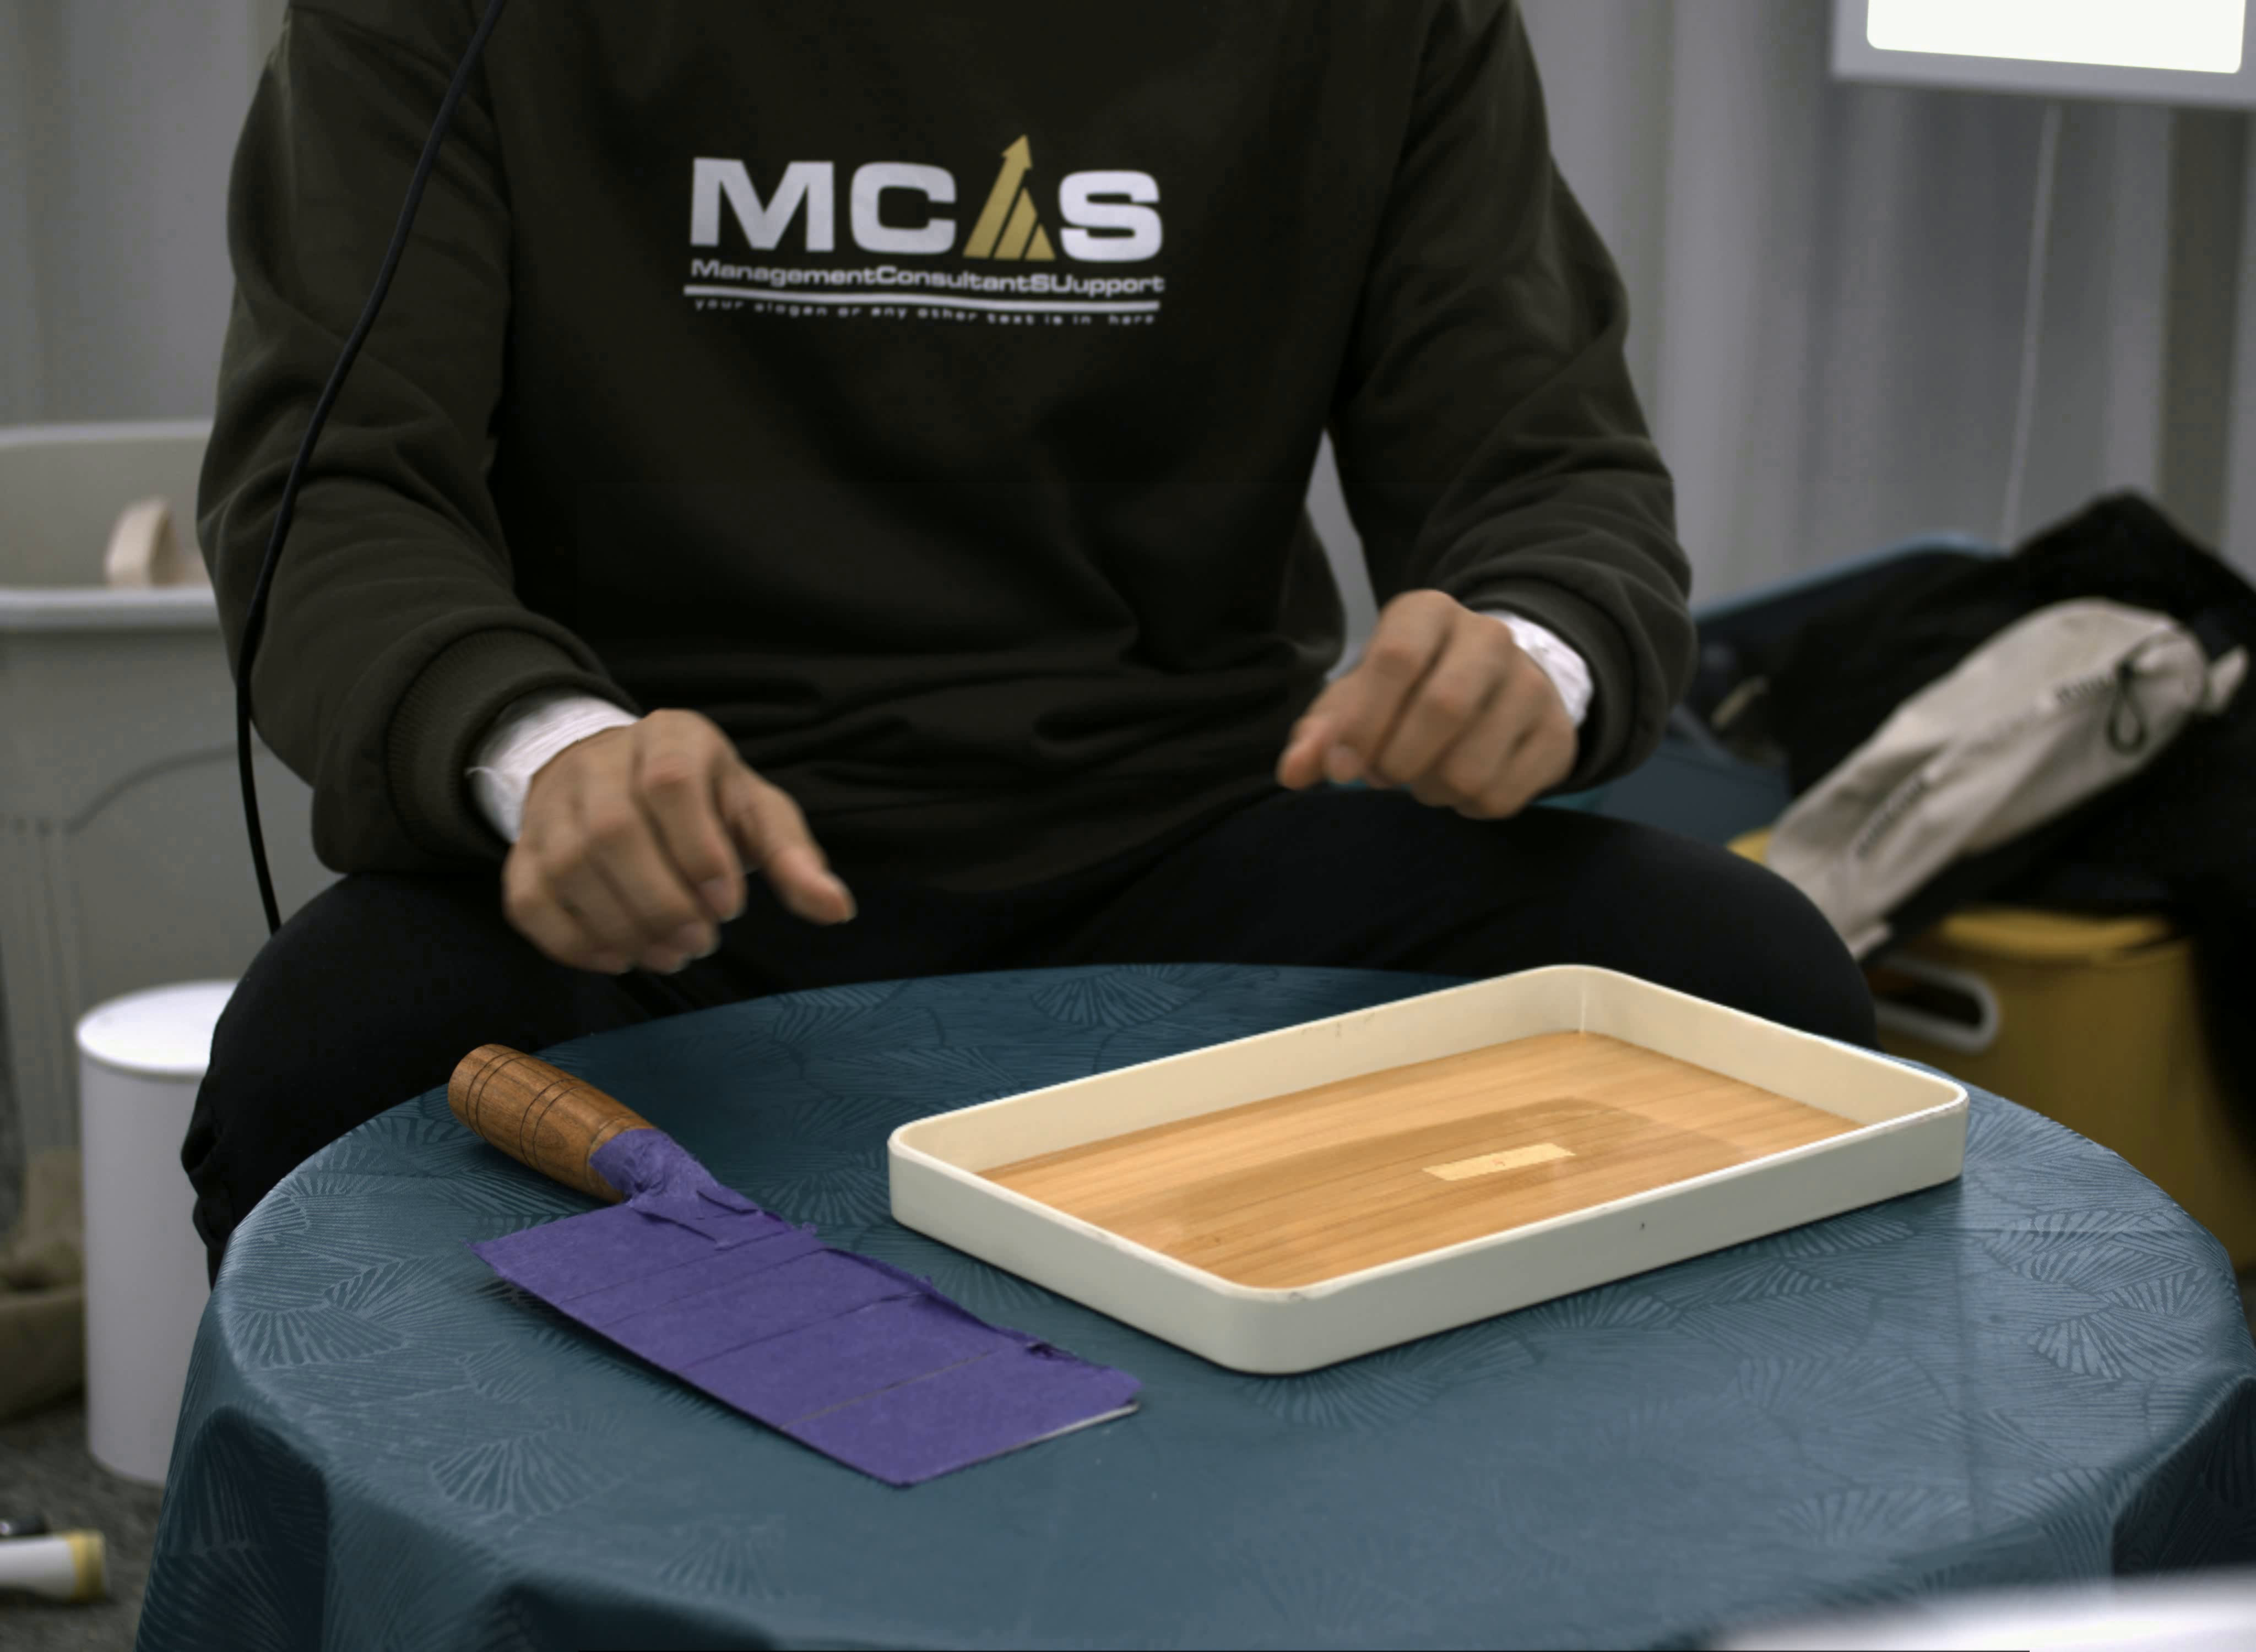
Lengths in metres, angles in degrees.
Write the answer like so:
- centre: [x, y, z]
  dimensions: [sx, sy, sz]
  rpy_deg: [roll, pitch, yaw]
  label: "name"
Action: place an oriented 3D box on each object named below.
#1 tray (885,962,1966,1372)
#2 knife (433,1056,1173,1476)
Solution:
- centre: [0.094, 0.100, 1.622]
  dimensions: [0.302, 0.027, 0.189]
  rpy_deg: [-12, 19, -38]
  label: "tray"
- centre: [-0.127, 0.124, 1.527]
  dimensions: [0.104, 0.032, 0.311]
  rpy_deg: [-13, 21, -40]
  label: "knife"
